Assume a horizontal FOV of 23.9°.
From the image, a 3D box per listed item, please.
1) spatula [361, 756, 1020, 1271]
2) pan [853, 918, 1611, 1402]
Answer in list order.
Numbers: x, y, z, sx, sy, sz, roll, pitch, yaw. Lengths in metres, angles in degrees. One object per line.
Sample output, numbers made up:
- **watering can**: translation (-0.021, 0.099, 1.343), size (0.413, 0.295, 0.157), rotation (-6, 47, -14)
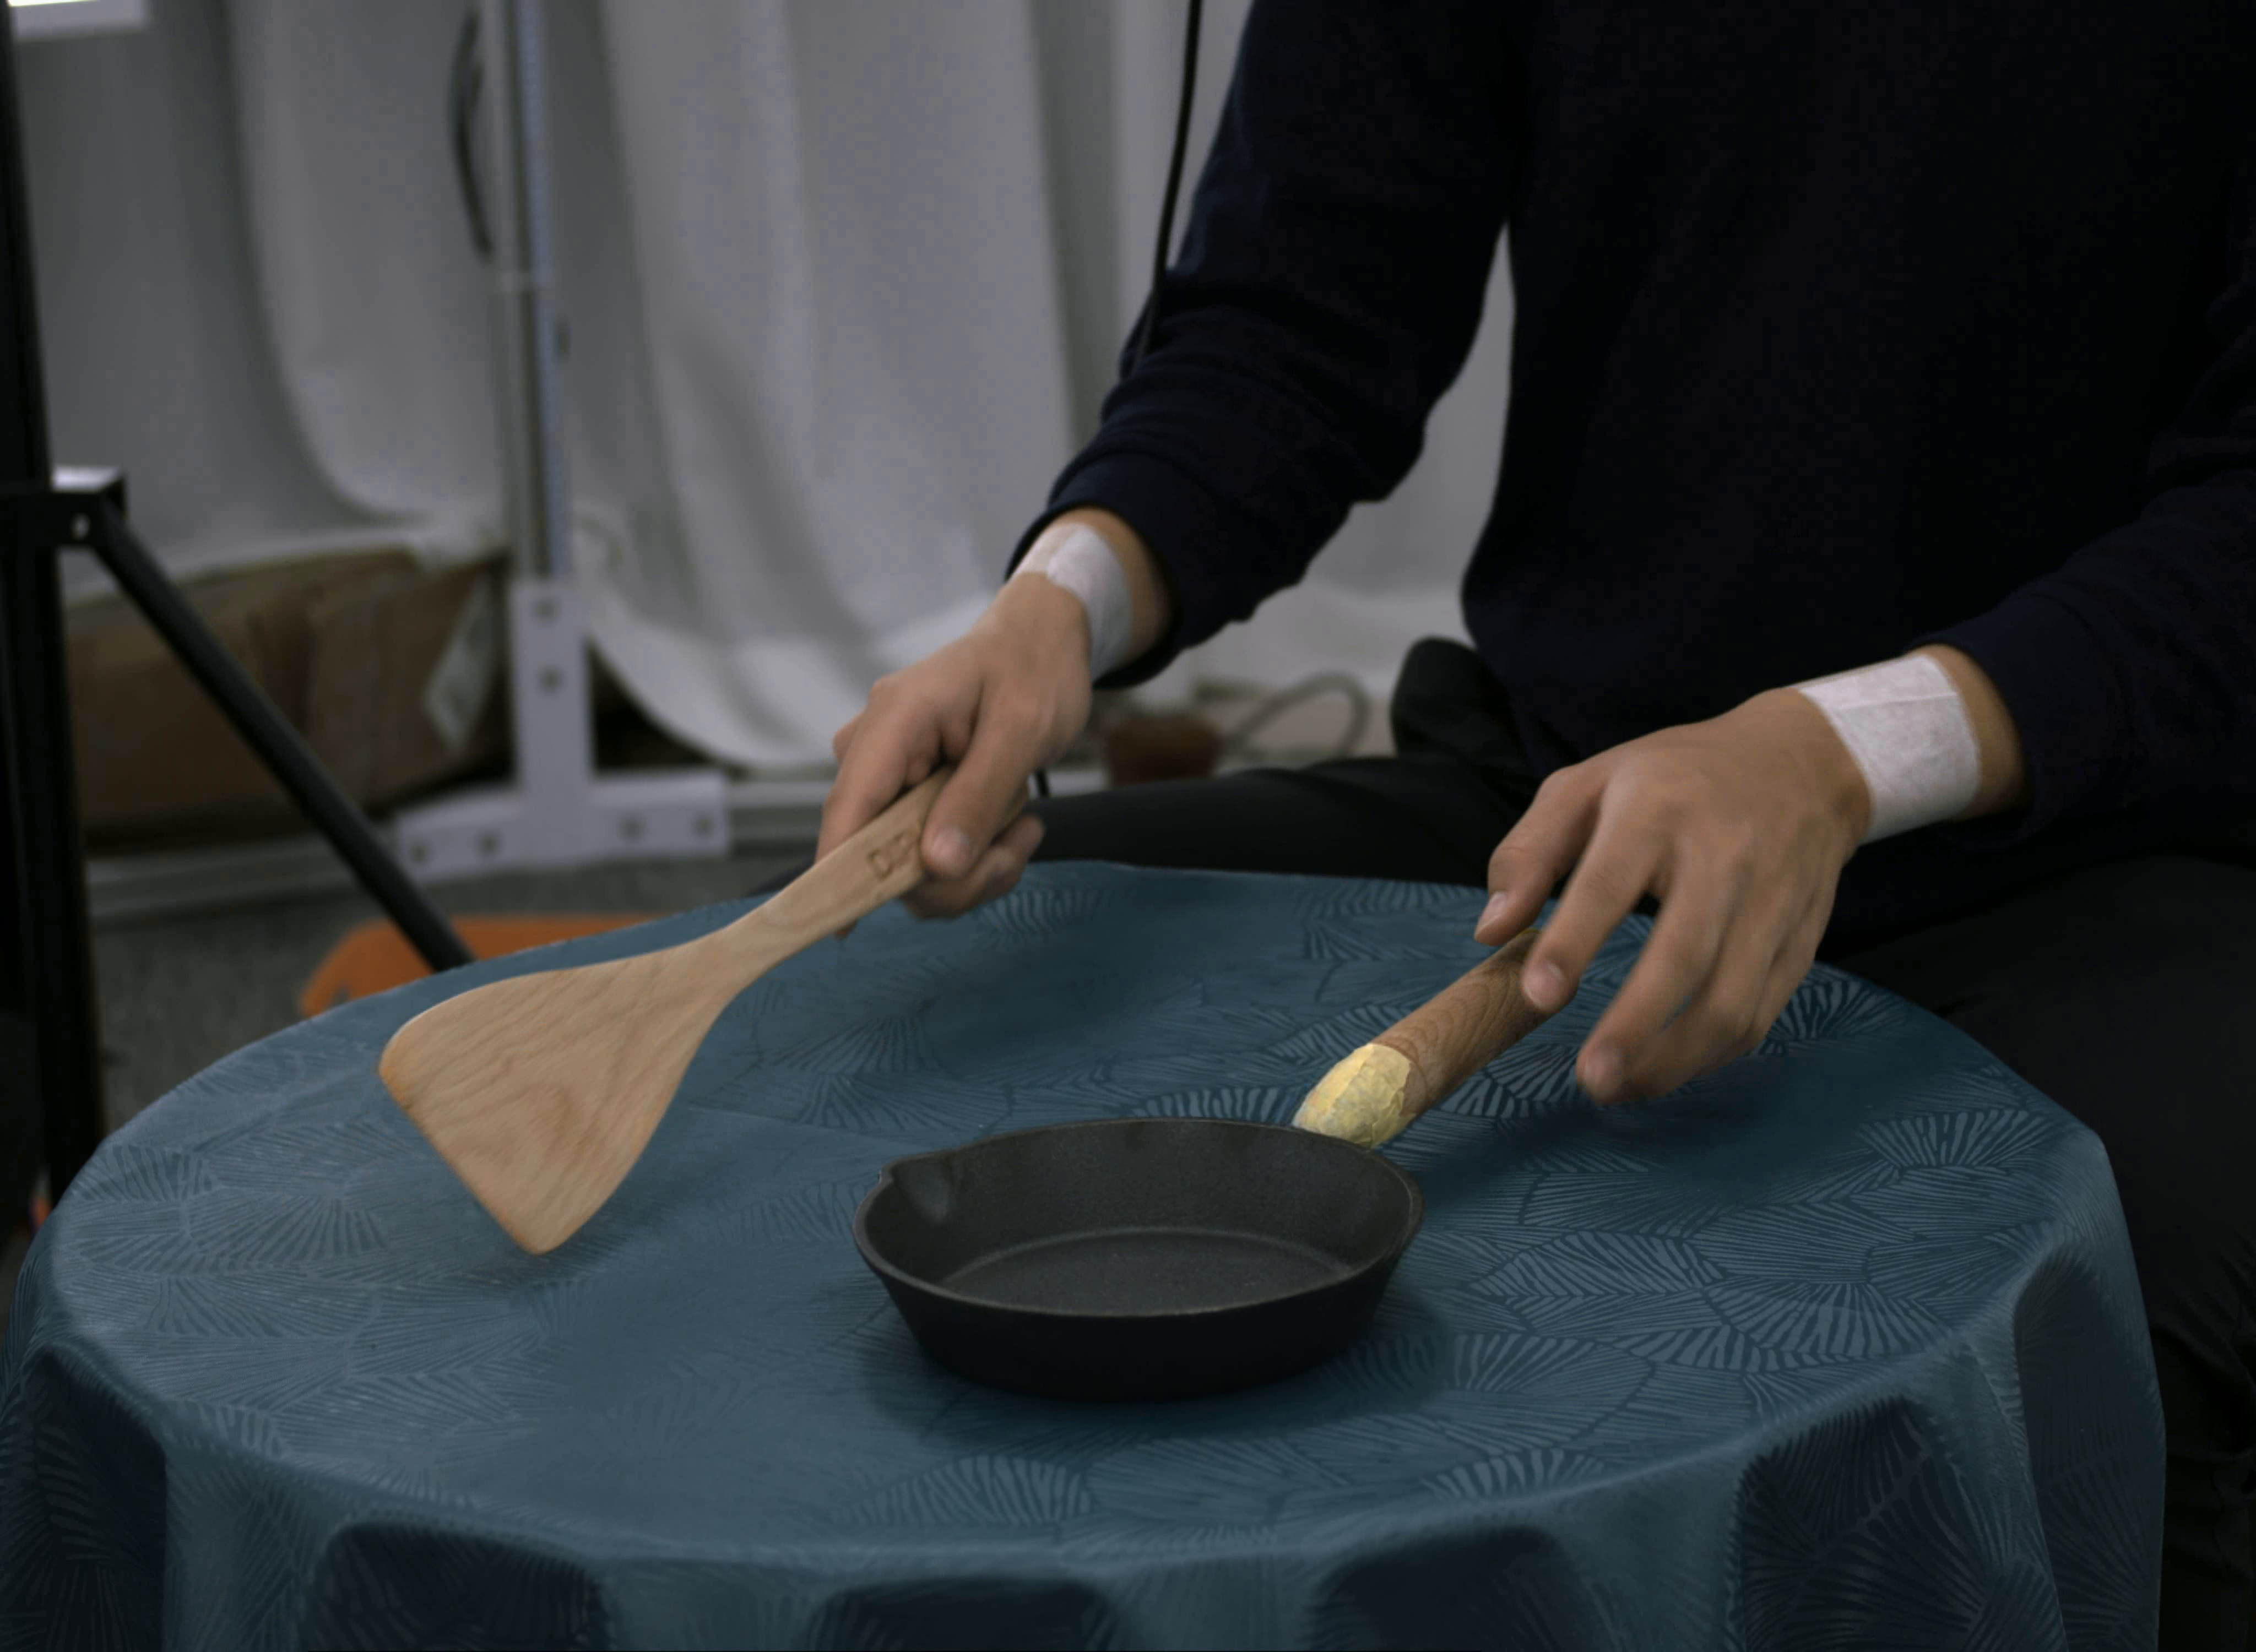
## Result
- **spatula**: translation (-0.119, 0.043, 1.623), size (0.017, 0.080, 0.322), rotation (-30, 3, 39)
- **pan**: translation (0.053, 0.091, 1.515), size (0.172, 0.049, 0.317), rotation (9, 21, 36)
